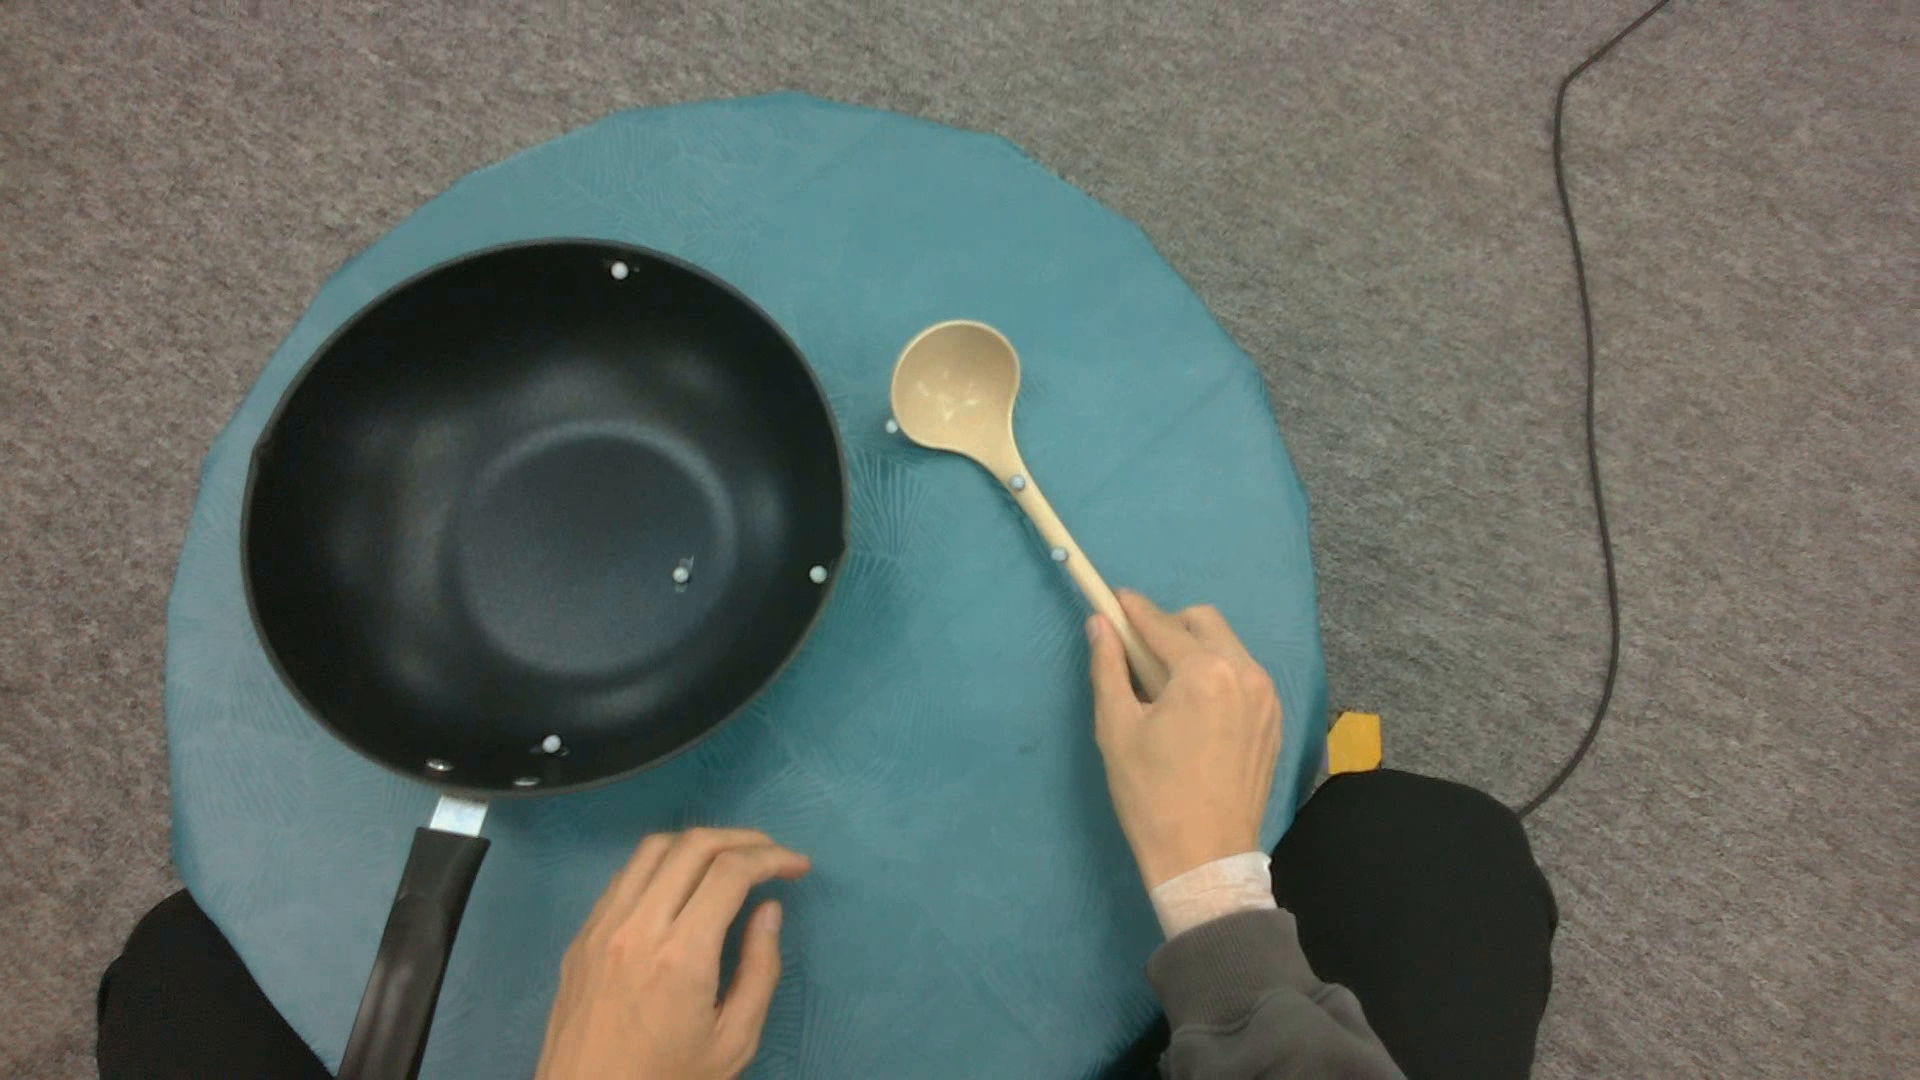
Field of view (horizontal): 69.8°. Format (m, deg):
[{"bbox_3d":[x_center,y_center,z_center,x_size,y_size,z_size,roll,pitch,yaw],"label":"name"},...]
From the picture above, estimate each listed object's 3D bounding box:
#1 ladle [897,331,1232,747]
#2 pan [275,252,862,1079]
[{"bbox_3d":[0.055,-0.004,0.701,0.072,0.072,0.255,-36,67,-3],"label":"ladle"},{"bbox_3d":[-0.207,0.081,0.674,0.288,0.086,0.464,10,72,3],"label":"pan"}]
